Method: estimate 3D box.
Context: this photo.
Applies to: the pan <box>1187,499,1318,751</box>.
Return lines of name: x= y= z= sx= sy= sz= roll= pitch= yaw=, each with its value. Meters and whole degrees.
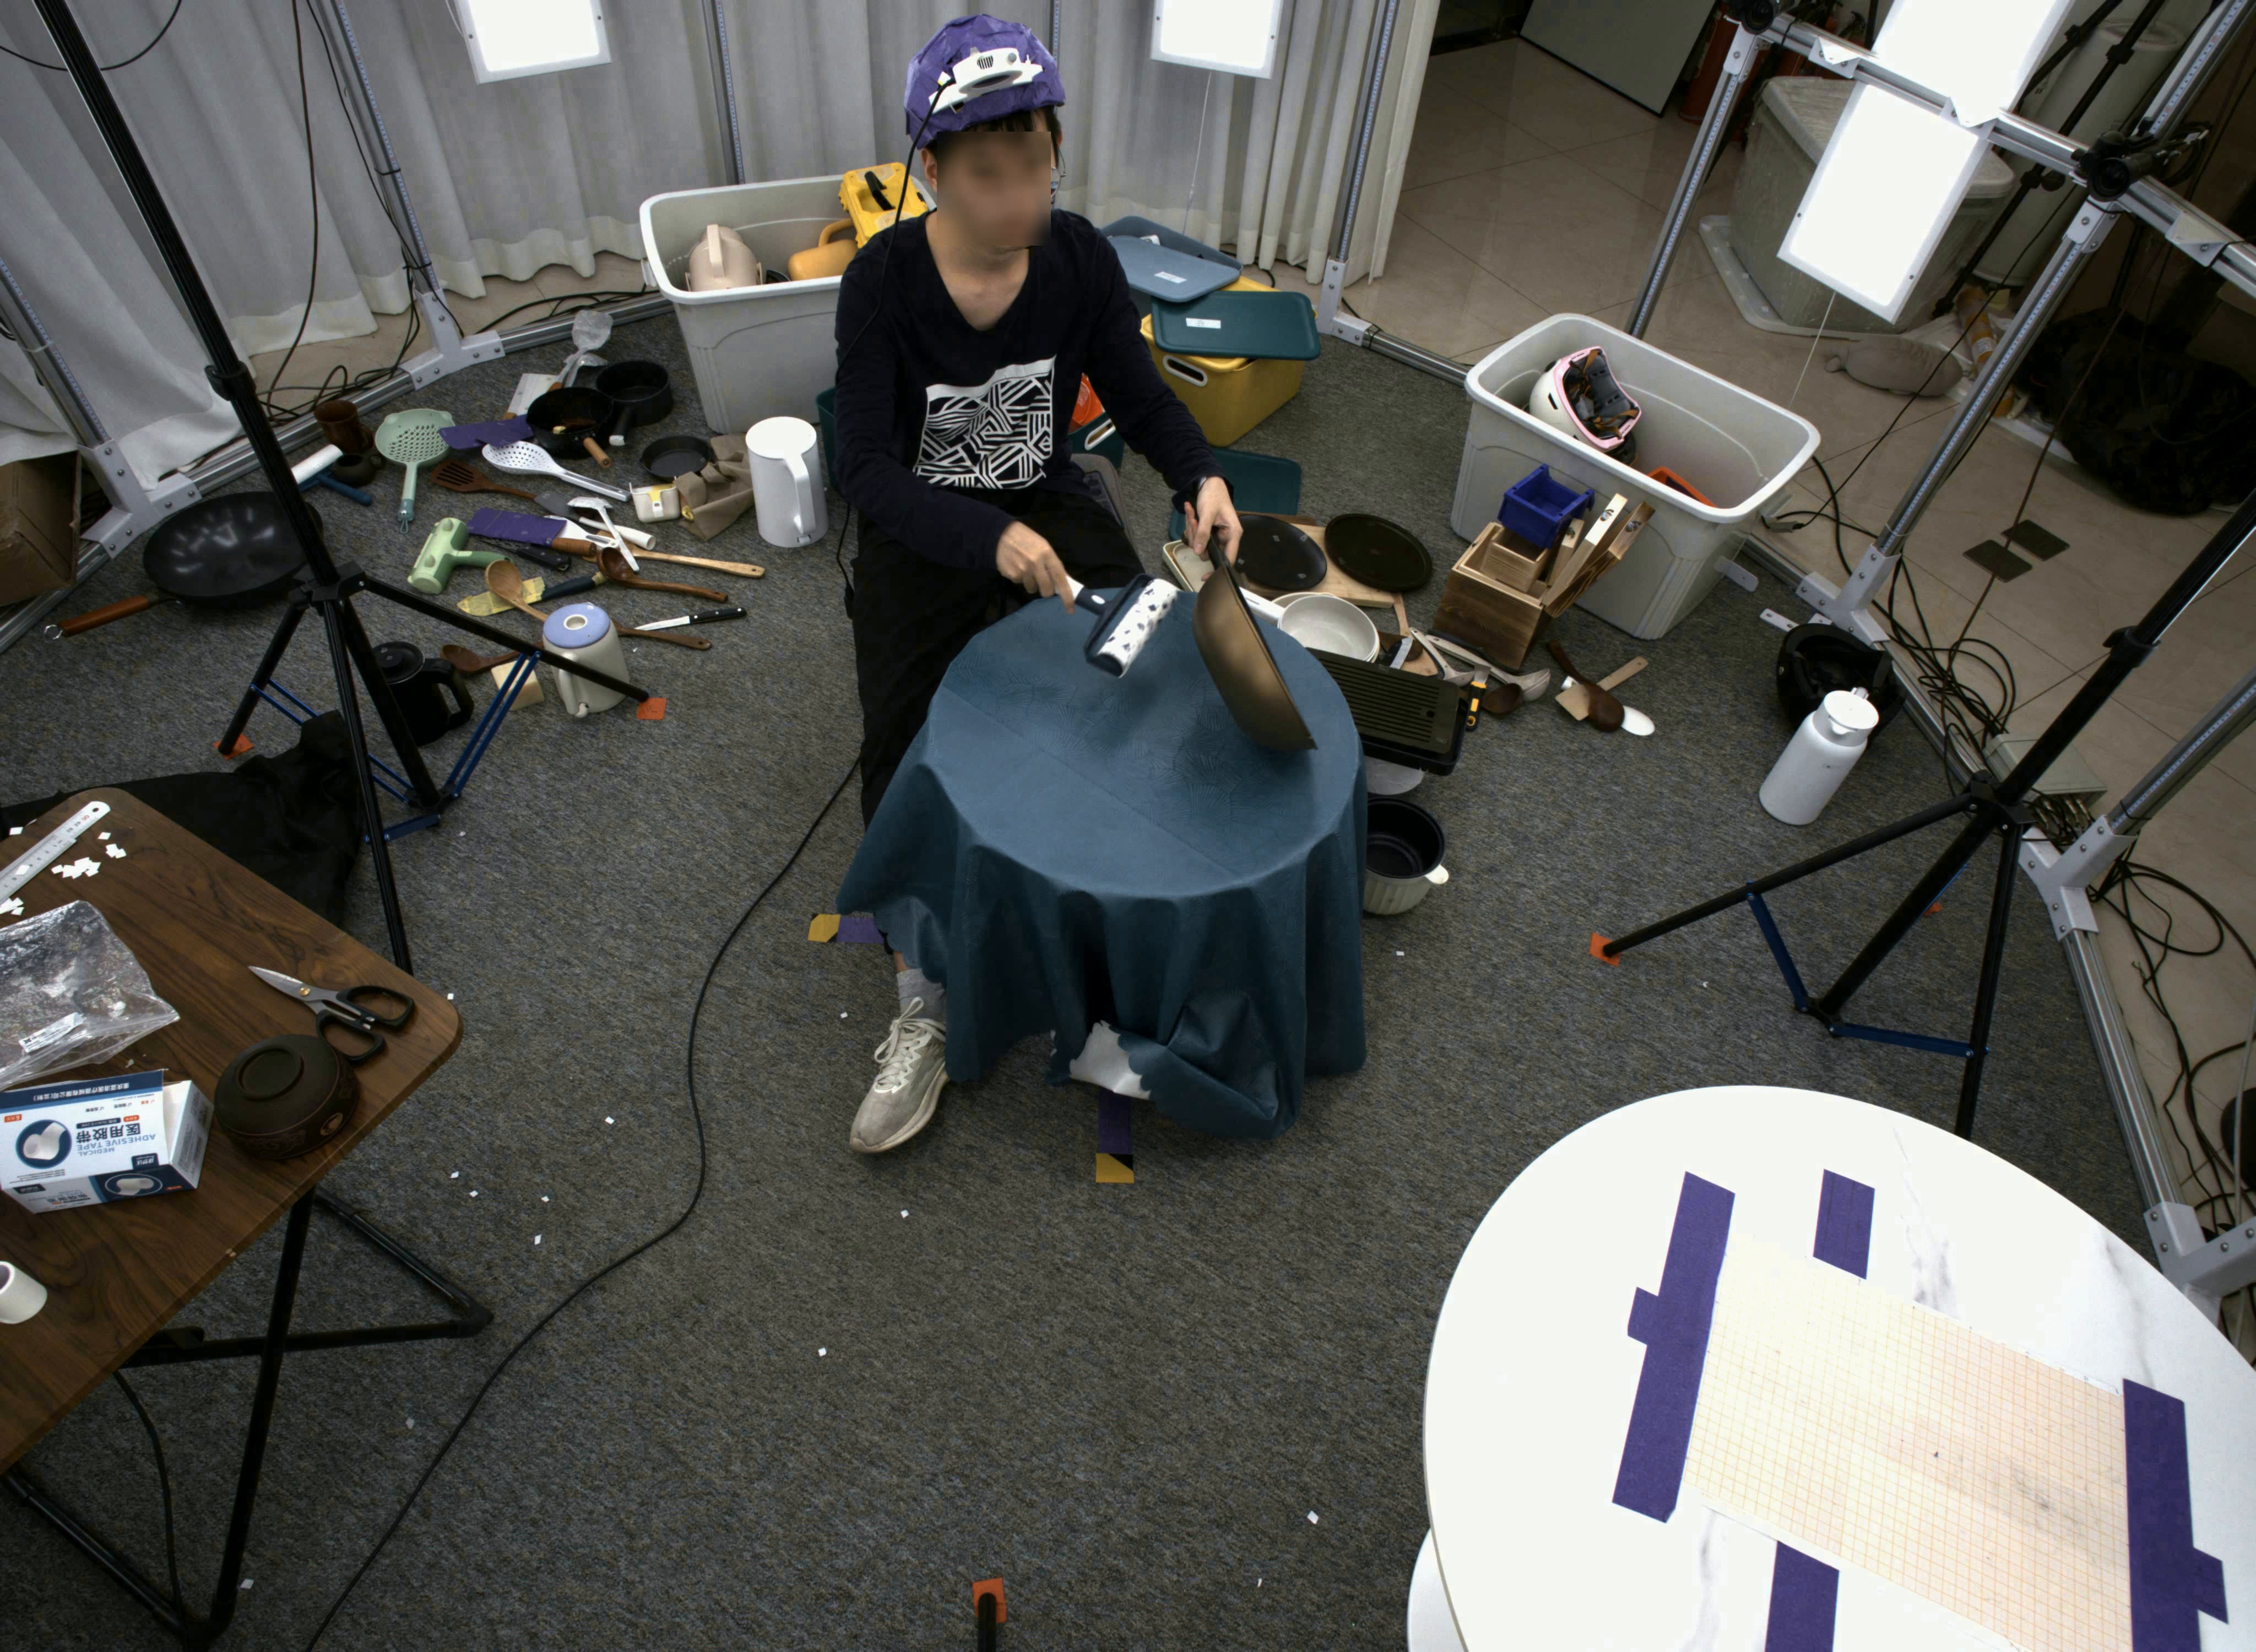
pan: x=0.127 y=-0.282 z=1.754 sx=0.086 sy=0.282 sz=0.474 roll=-27 pitch=55 yaw=10

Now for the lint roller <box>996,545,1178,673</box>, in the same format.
lint roller: x=-0.073 y=-0.326 z=1.773 sx=0.248 sy=0.049 sz=0.179 roll=29 pitch=56 yaw=6
